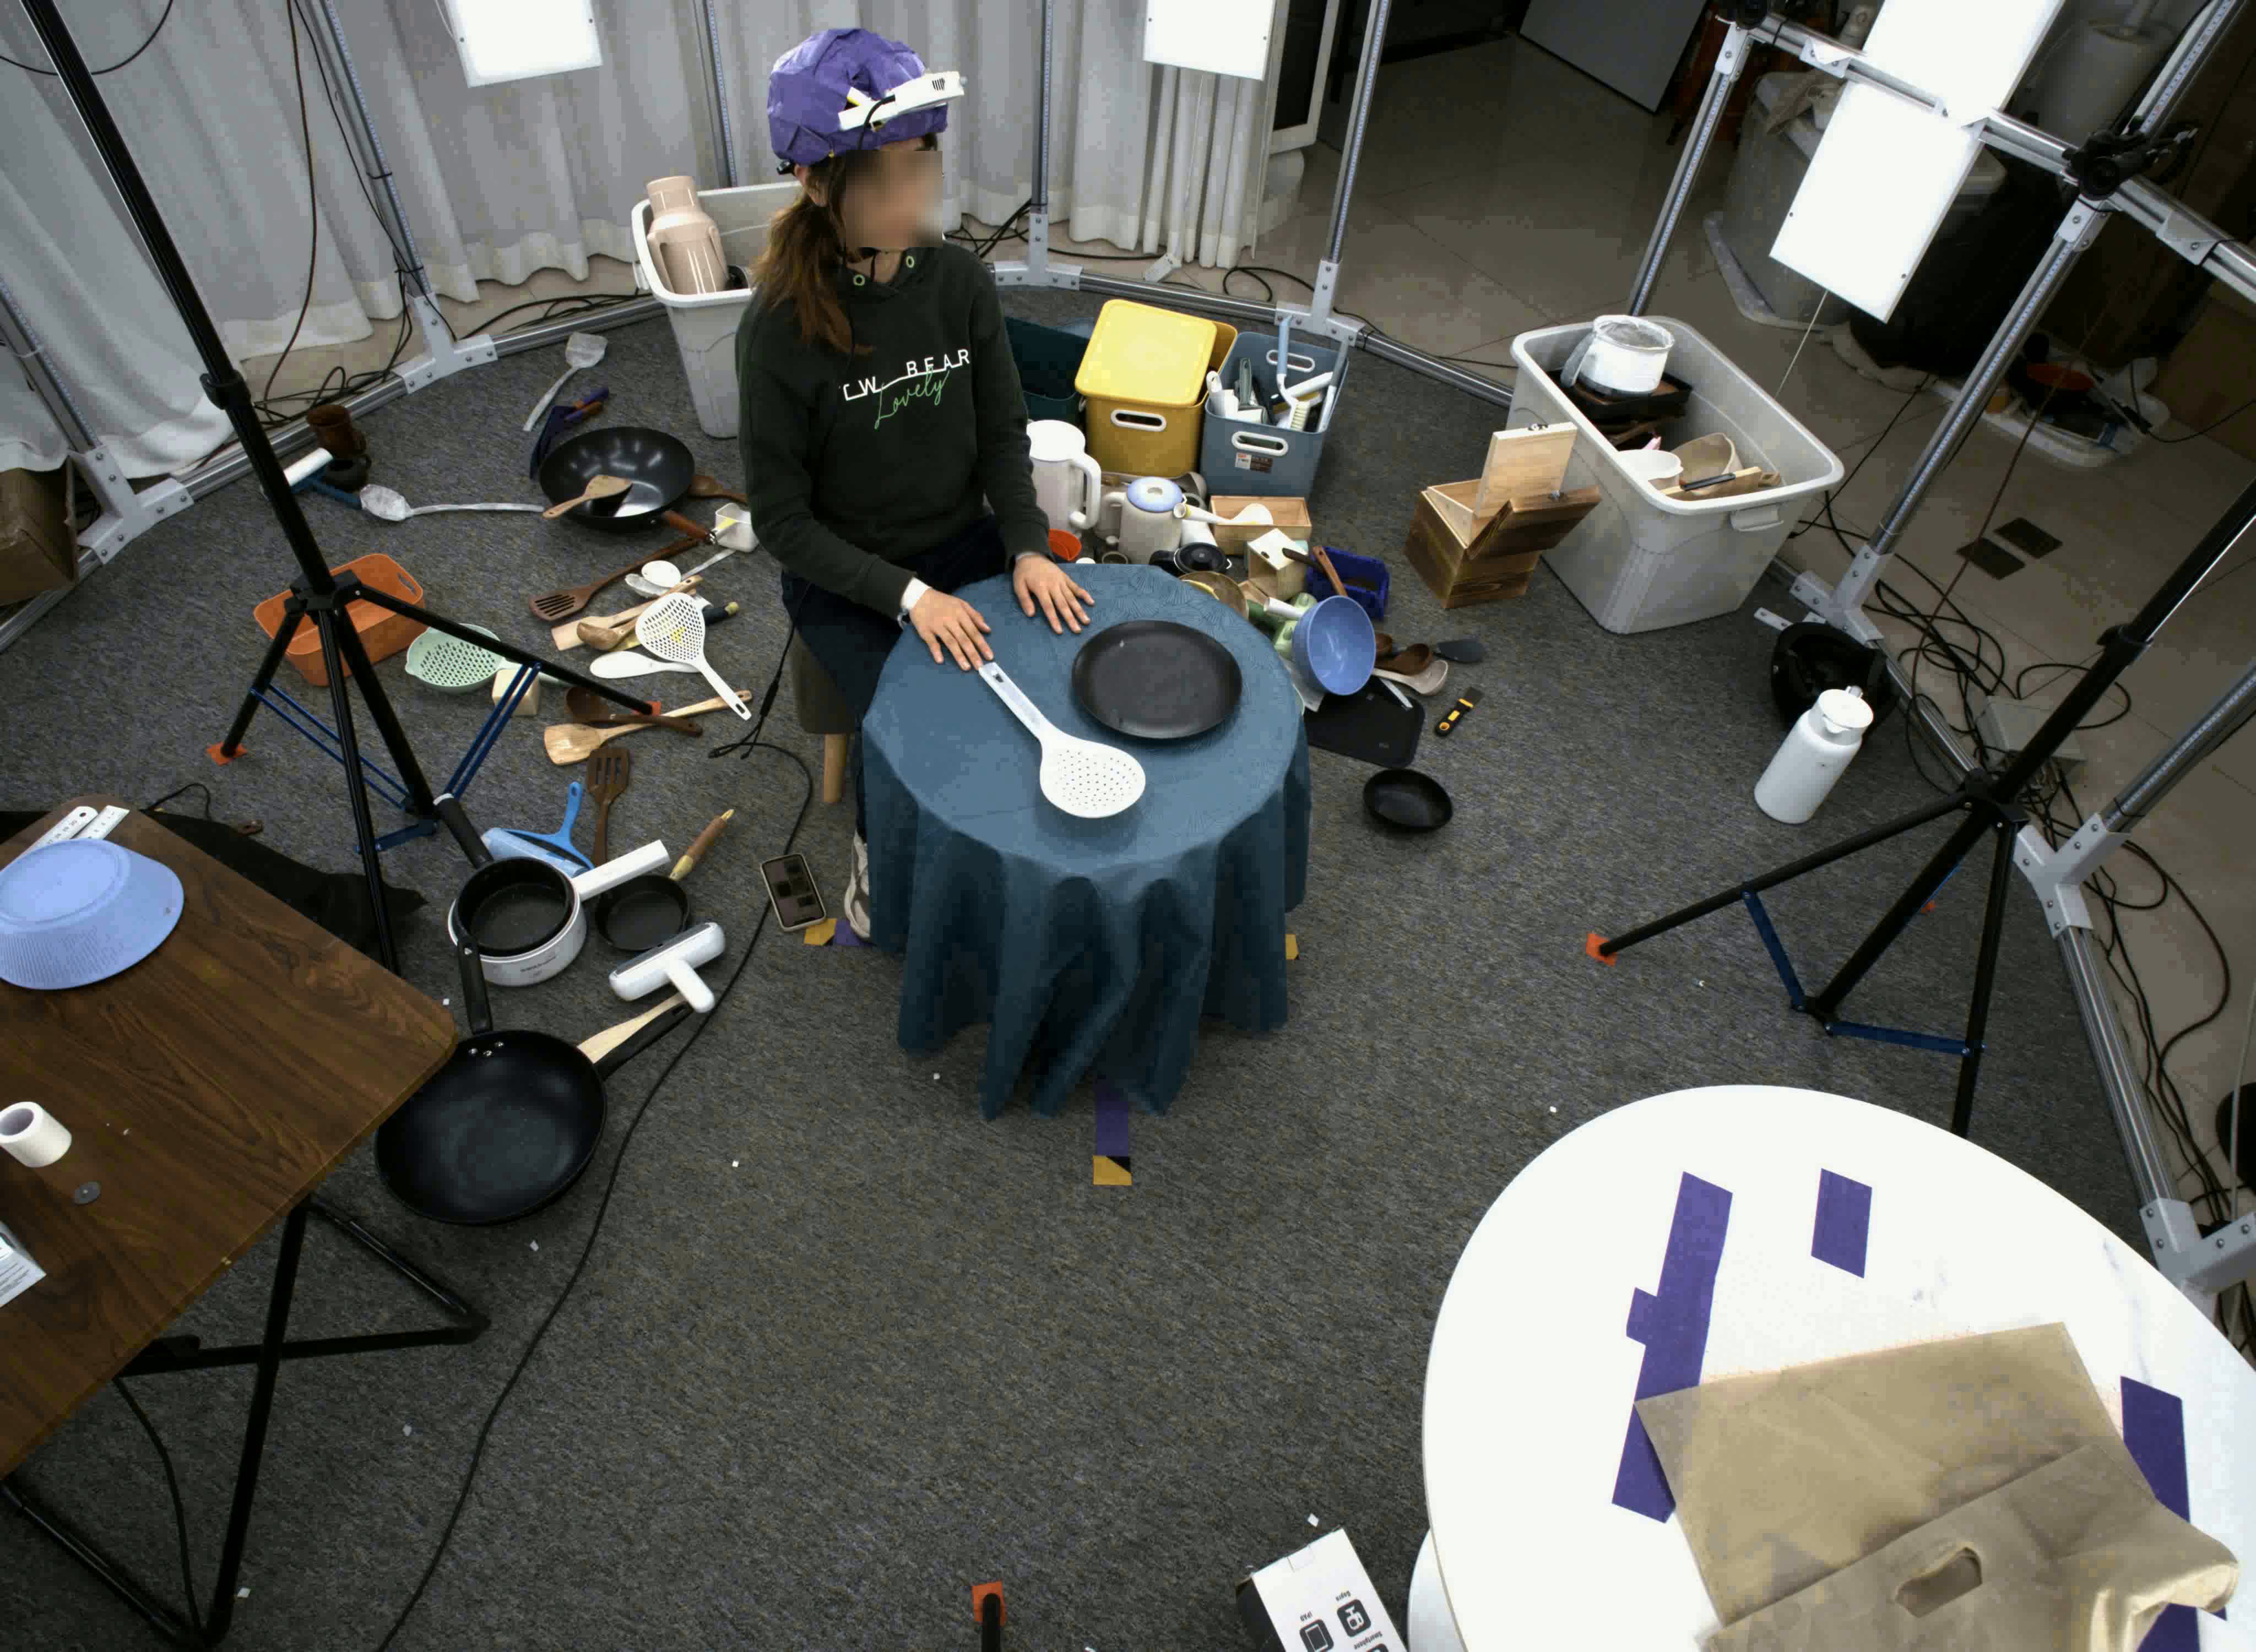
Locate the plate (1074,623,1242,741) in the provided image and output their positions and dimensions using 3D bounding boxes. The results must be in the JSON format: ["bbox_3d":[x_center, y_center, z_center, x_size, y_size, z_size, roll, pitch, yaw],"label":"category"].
[{"bbox_3d":[0.042,-0.206,1.851,0.244,0.023,0.250,2,48,-2],"label":"plate"}]

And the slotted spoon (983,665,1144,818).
[{"bbox_3d":[-0.105,-0.121,1.752,0.136,0.044,0.357,-22,53,-24],"label":"slotted spoon"}]
